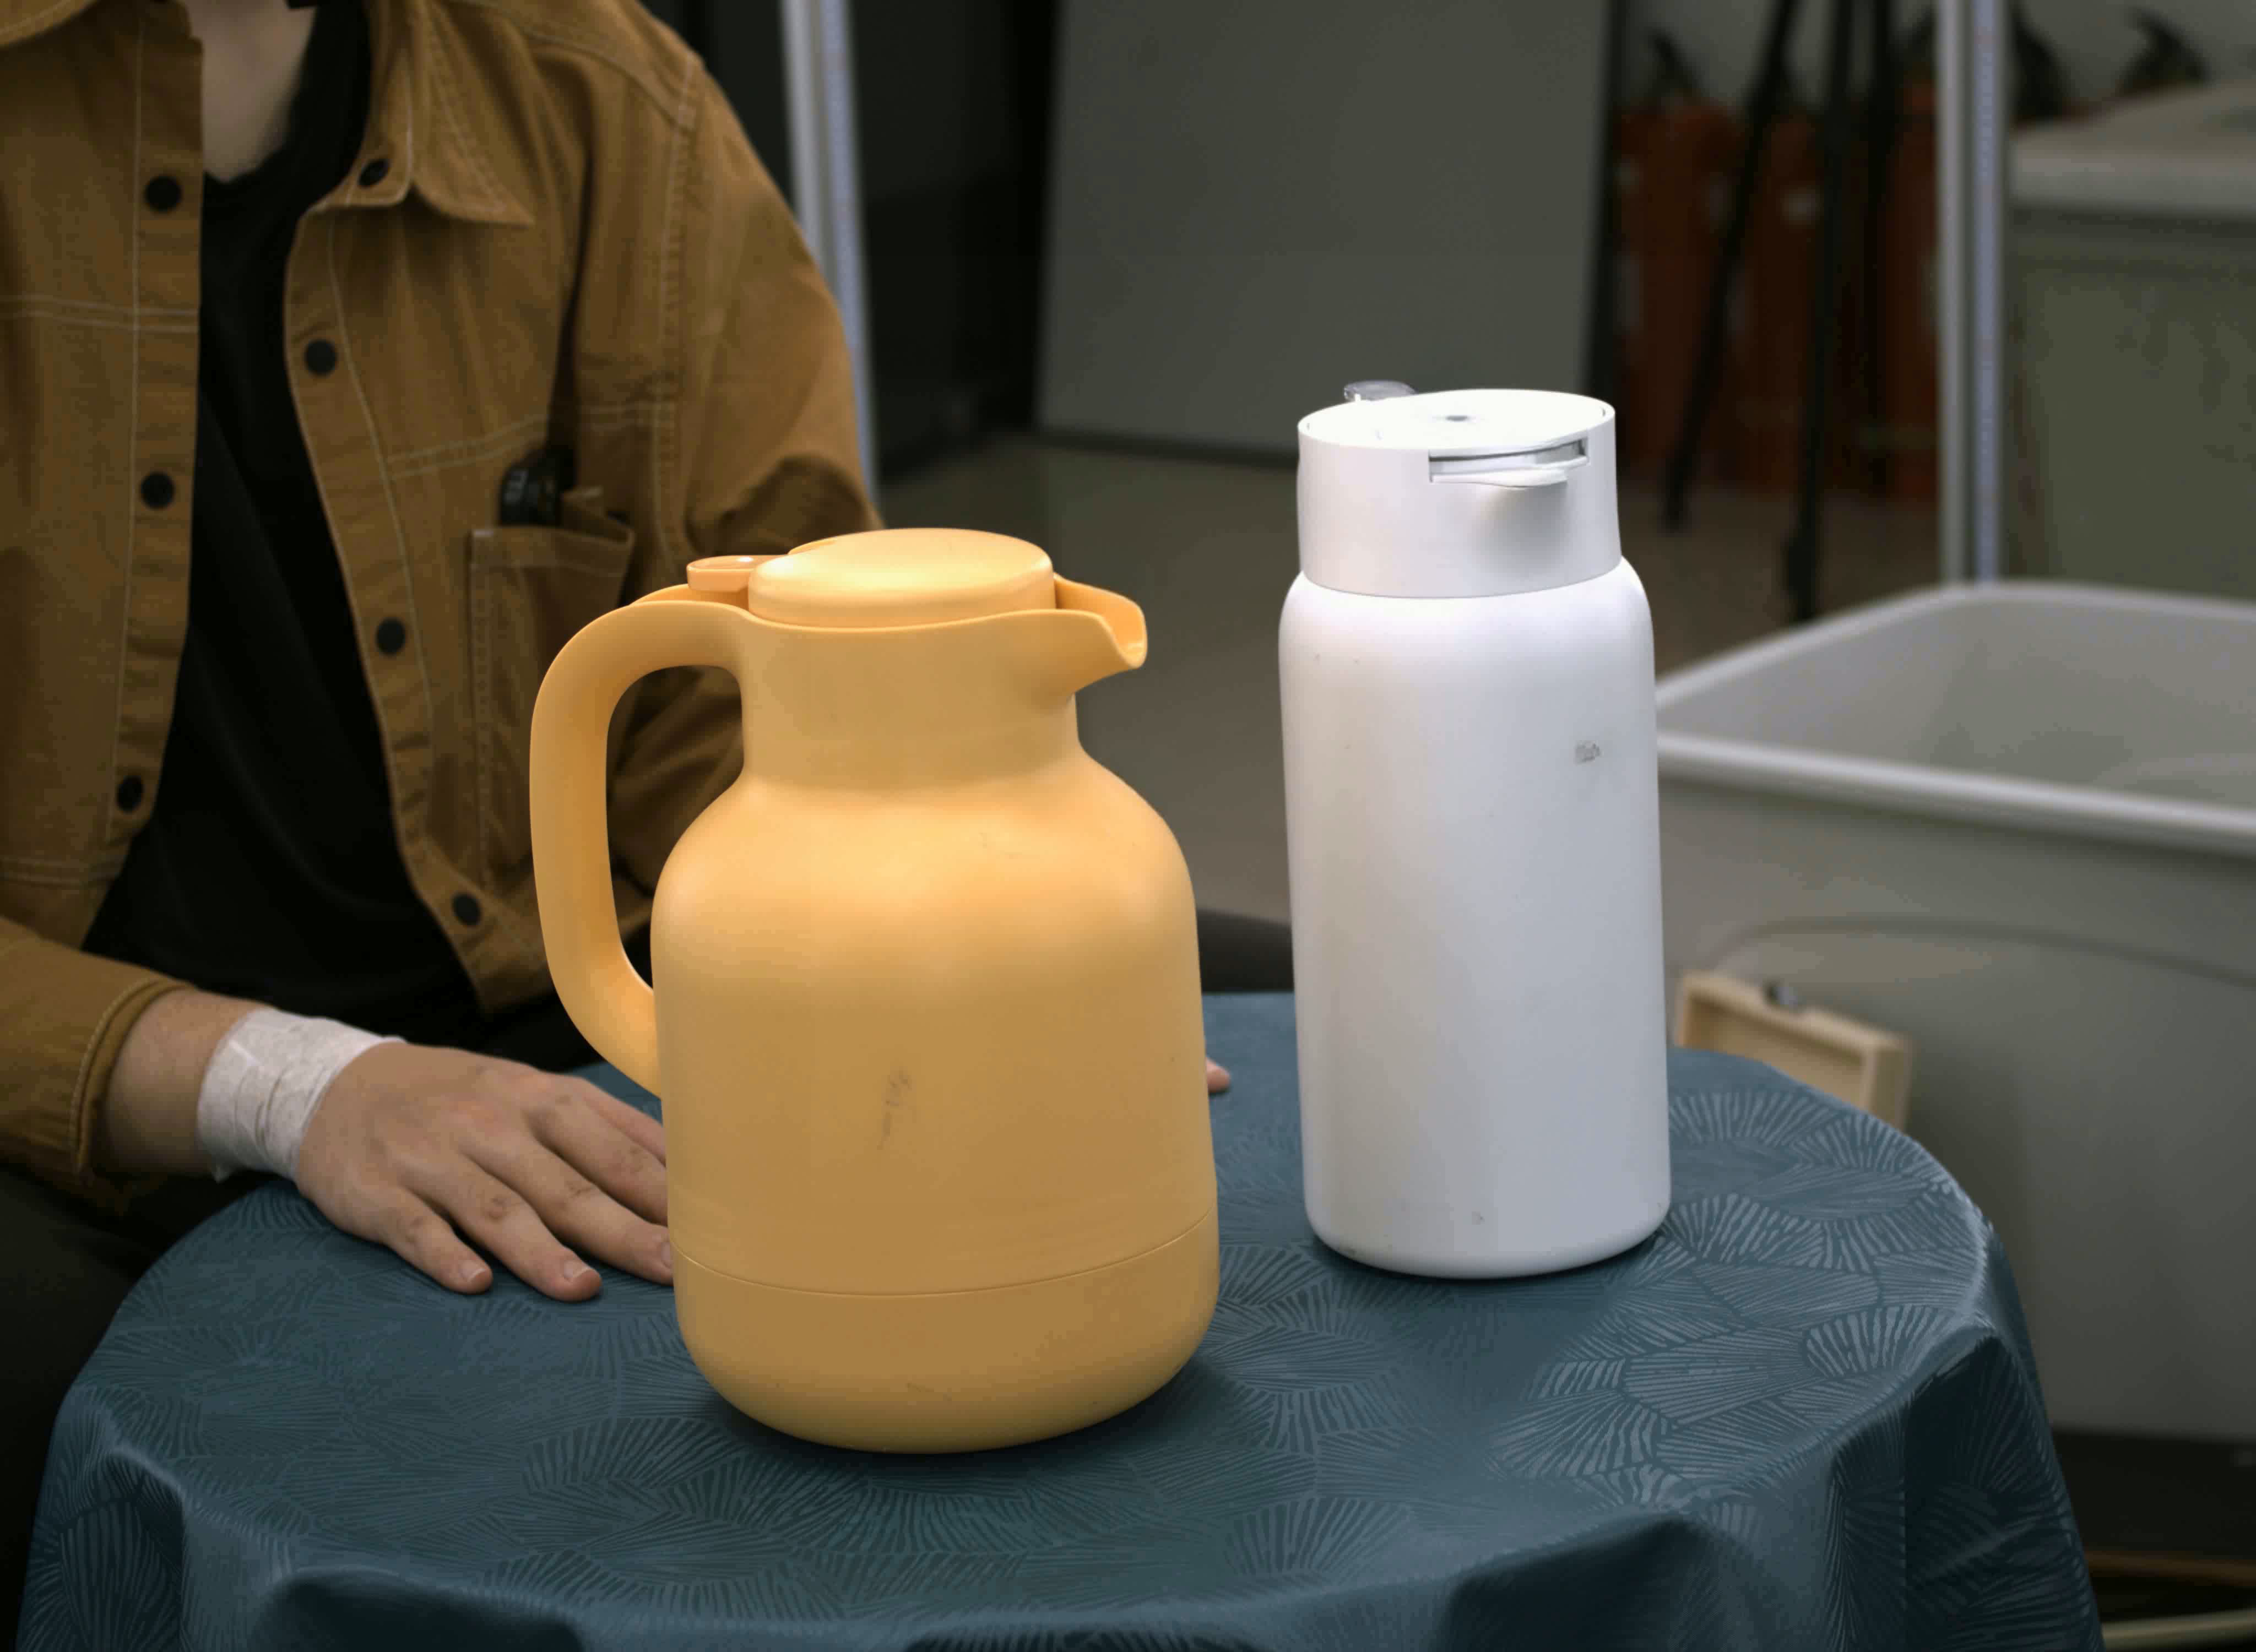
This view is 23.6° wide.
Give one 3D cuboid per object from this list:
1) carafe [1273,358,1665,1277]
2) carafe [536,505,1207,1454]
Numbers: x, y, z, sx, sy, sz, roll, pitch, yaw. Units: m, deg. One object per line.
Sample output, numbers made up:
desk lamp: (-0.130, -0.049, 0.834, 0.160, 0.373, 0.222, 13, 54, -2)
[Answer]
carafe: (0.099, -0.006, 1.695, 0.121, 0.272, 0.174, -10, 15, -18)
carafe: (-0.077, 0.039, 1.578, 0.203, 0.263, 0.161, 4, 12, 25)
